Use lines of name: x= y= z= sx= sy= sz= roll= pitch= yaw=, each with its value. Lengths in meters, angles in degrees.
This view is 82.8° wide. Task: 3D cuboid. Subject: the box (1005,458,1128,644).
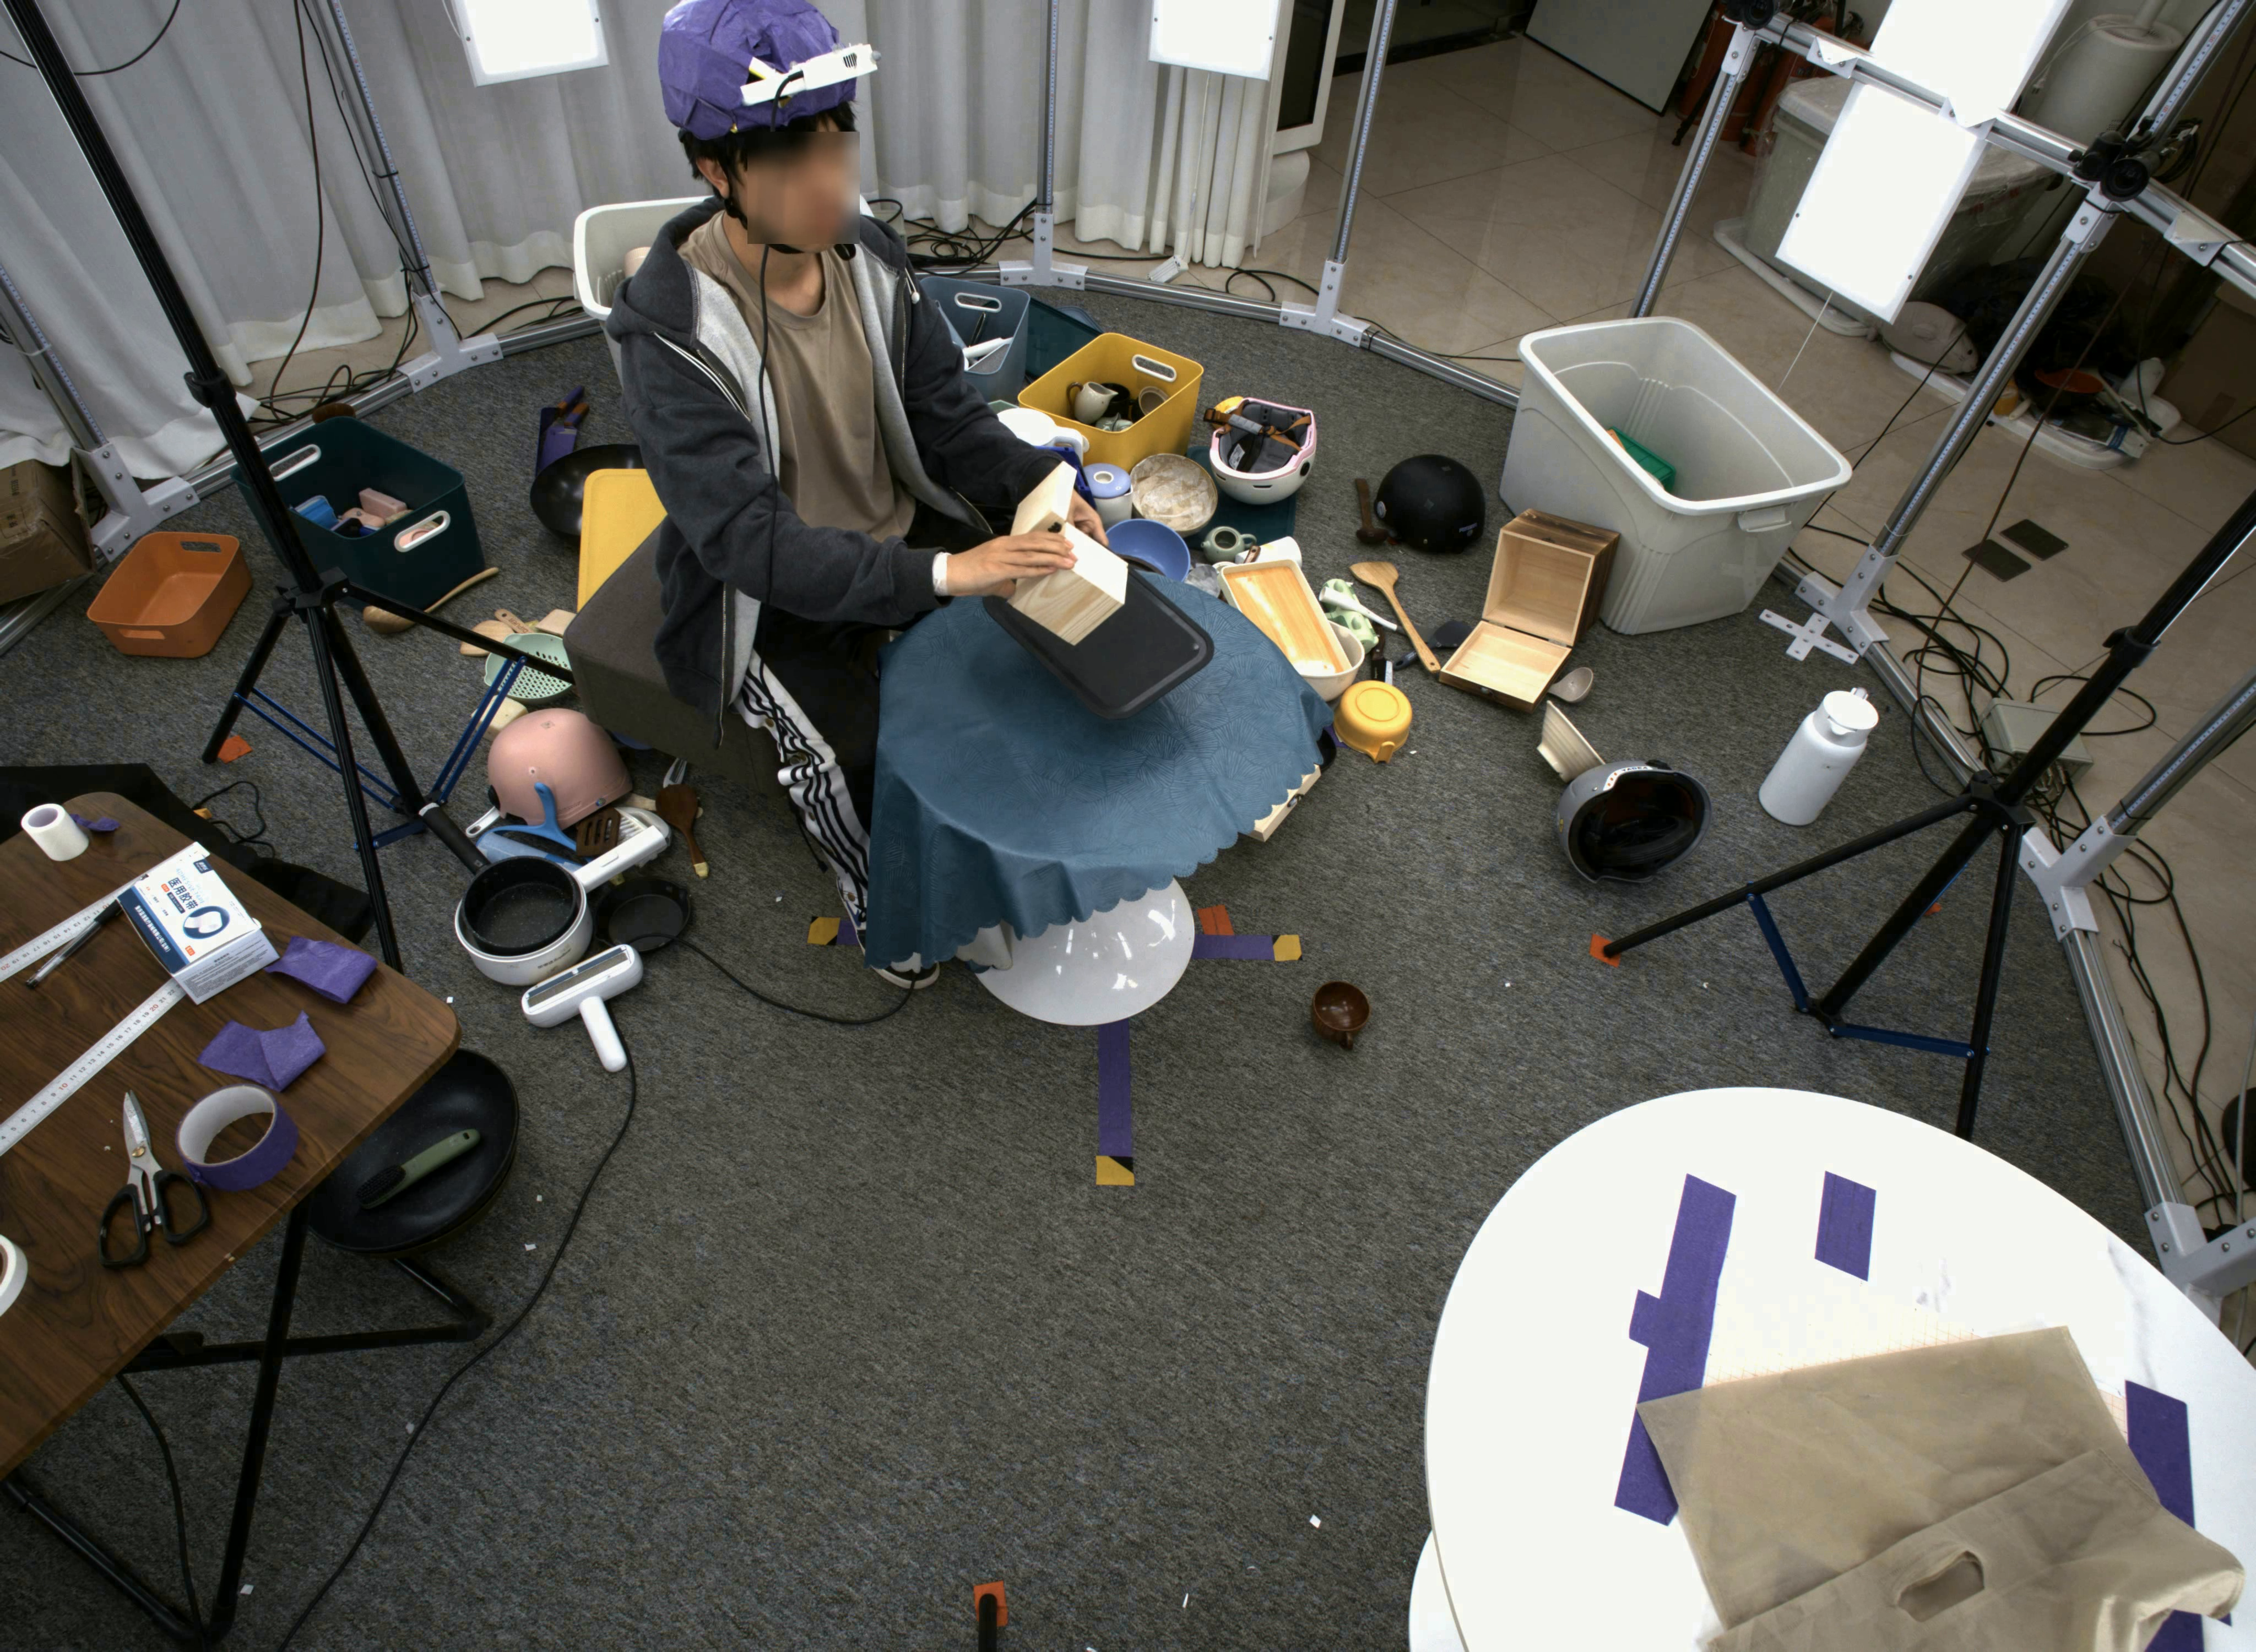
box: x=-0.075 y=-0.353 z=1.655 sx=0.132 sy=0.101 sz=0.189 roll=28 pitch=47 yaw=-28

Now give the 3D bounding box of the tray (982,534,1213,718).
tray: x=-0.050 y=-0.288 z=1.782 sx=0.212 sy=0.009 sz=0.330 roll=-35 pitch=63 yaw=-21
